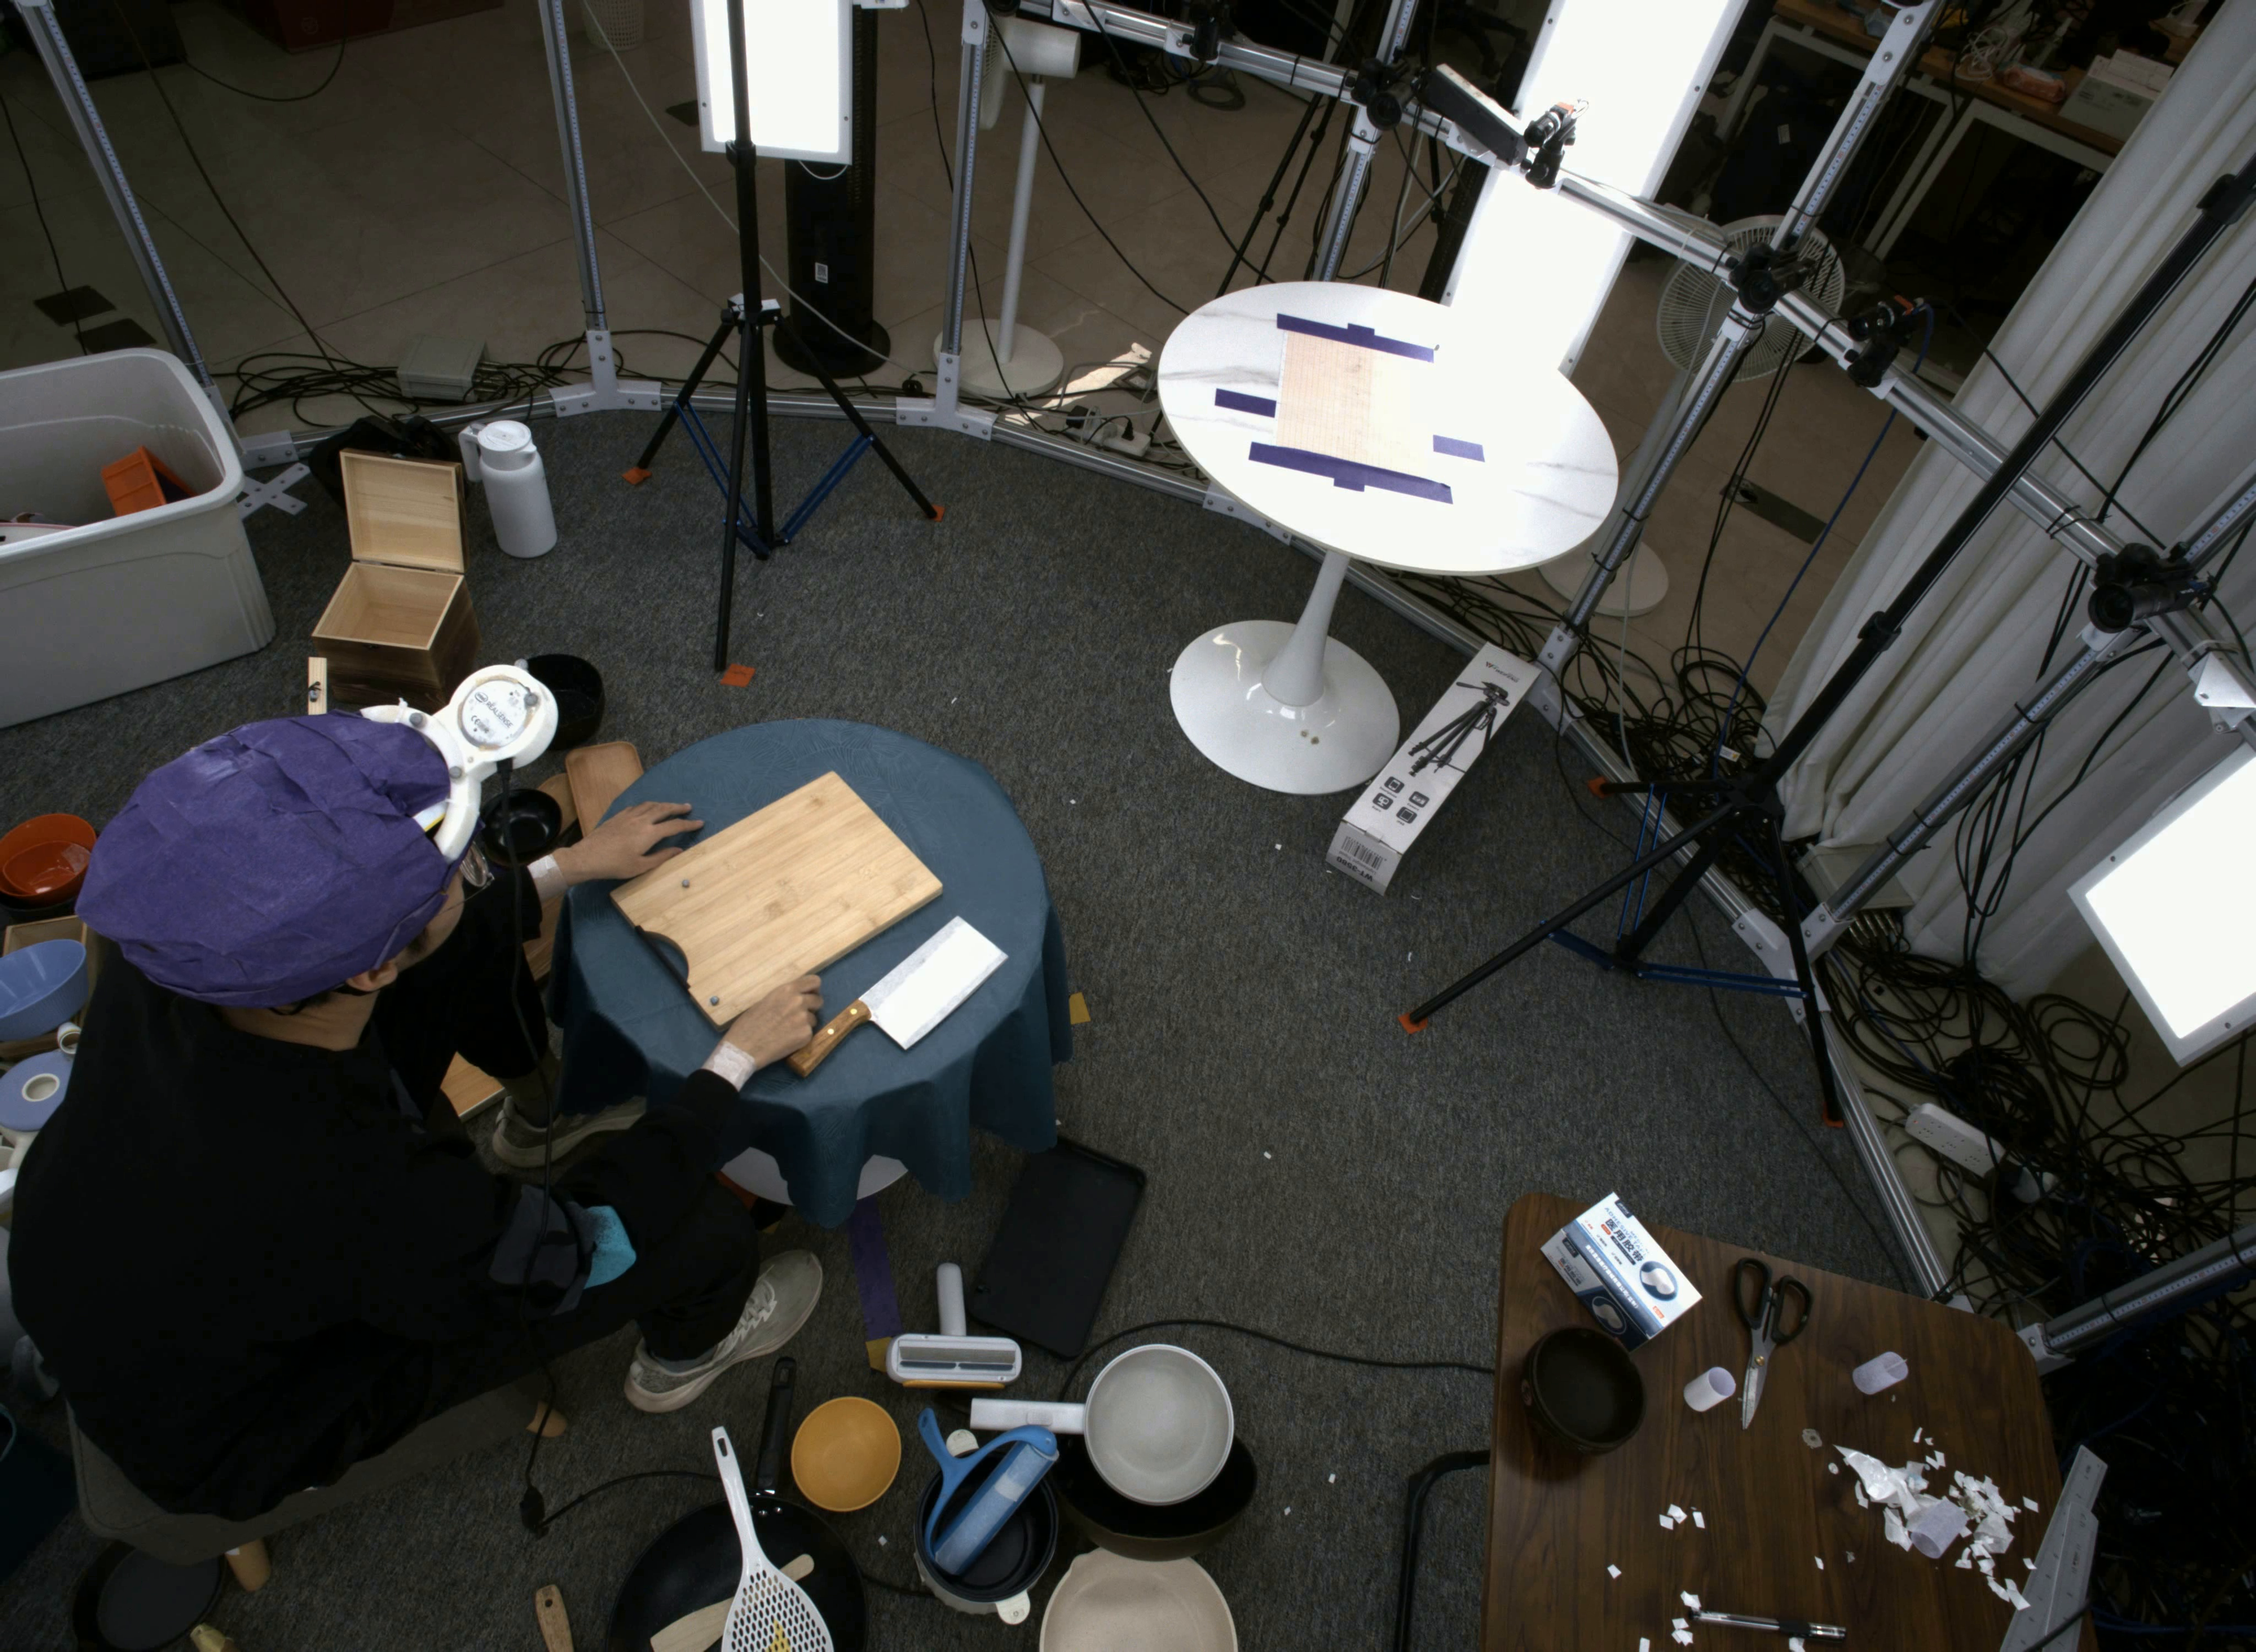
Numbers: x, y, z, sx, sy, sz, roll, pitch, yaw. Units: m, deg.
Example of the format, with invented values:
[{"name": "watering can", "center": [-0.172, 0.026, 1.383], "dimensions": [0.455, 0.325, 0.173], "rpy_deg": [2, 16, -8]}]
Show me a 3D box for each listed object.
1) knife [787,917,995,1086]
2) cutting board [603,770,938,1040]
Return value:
[{"name": "knife", "center": [-0.276, 0.219, 1.579], "dimensions": [0.091, 0.021, 0.306], "rpy_deg": [38, 51, 12]}, {"name": "cutting board", "center": [-0.446, 0.087, 1.632], "dimensions": [0.245, 0.024, 0.349], "rpy_deg": [43, 55, 18]}]
